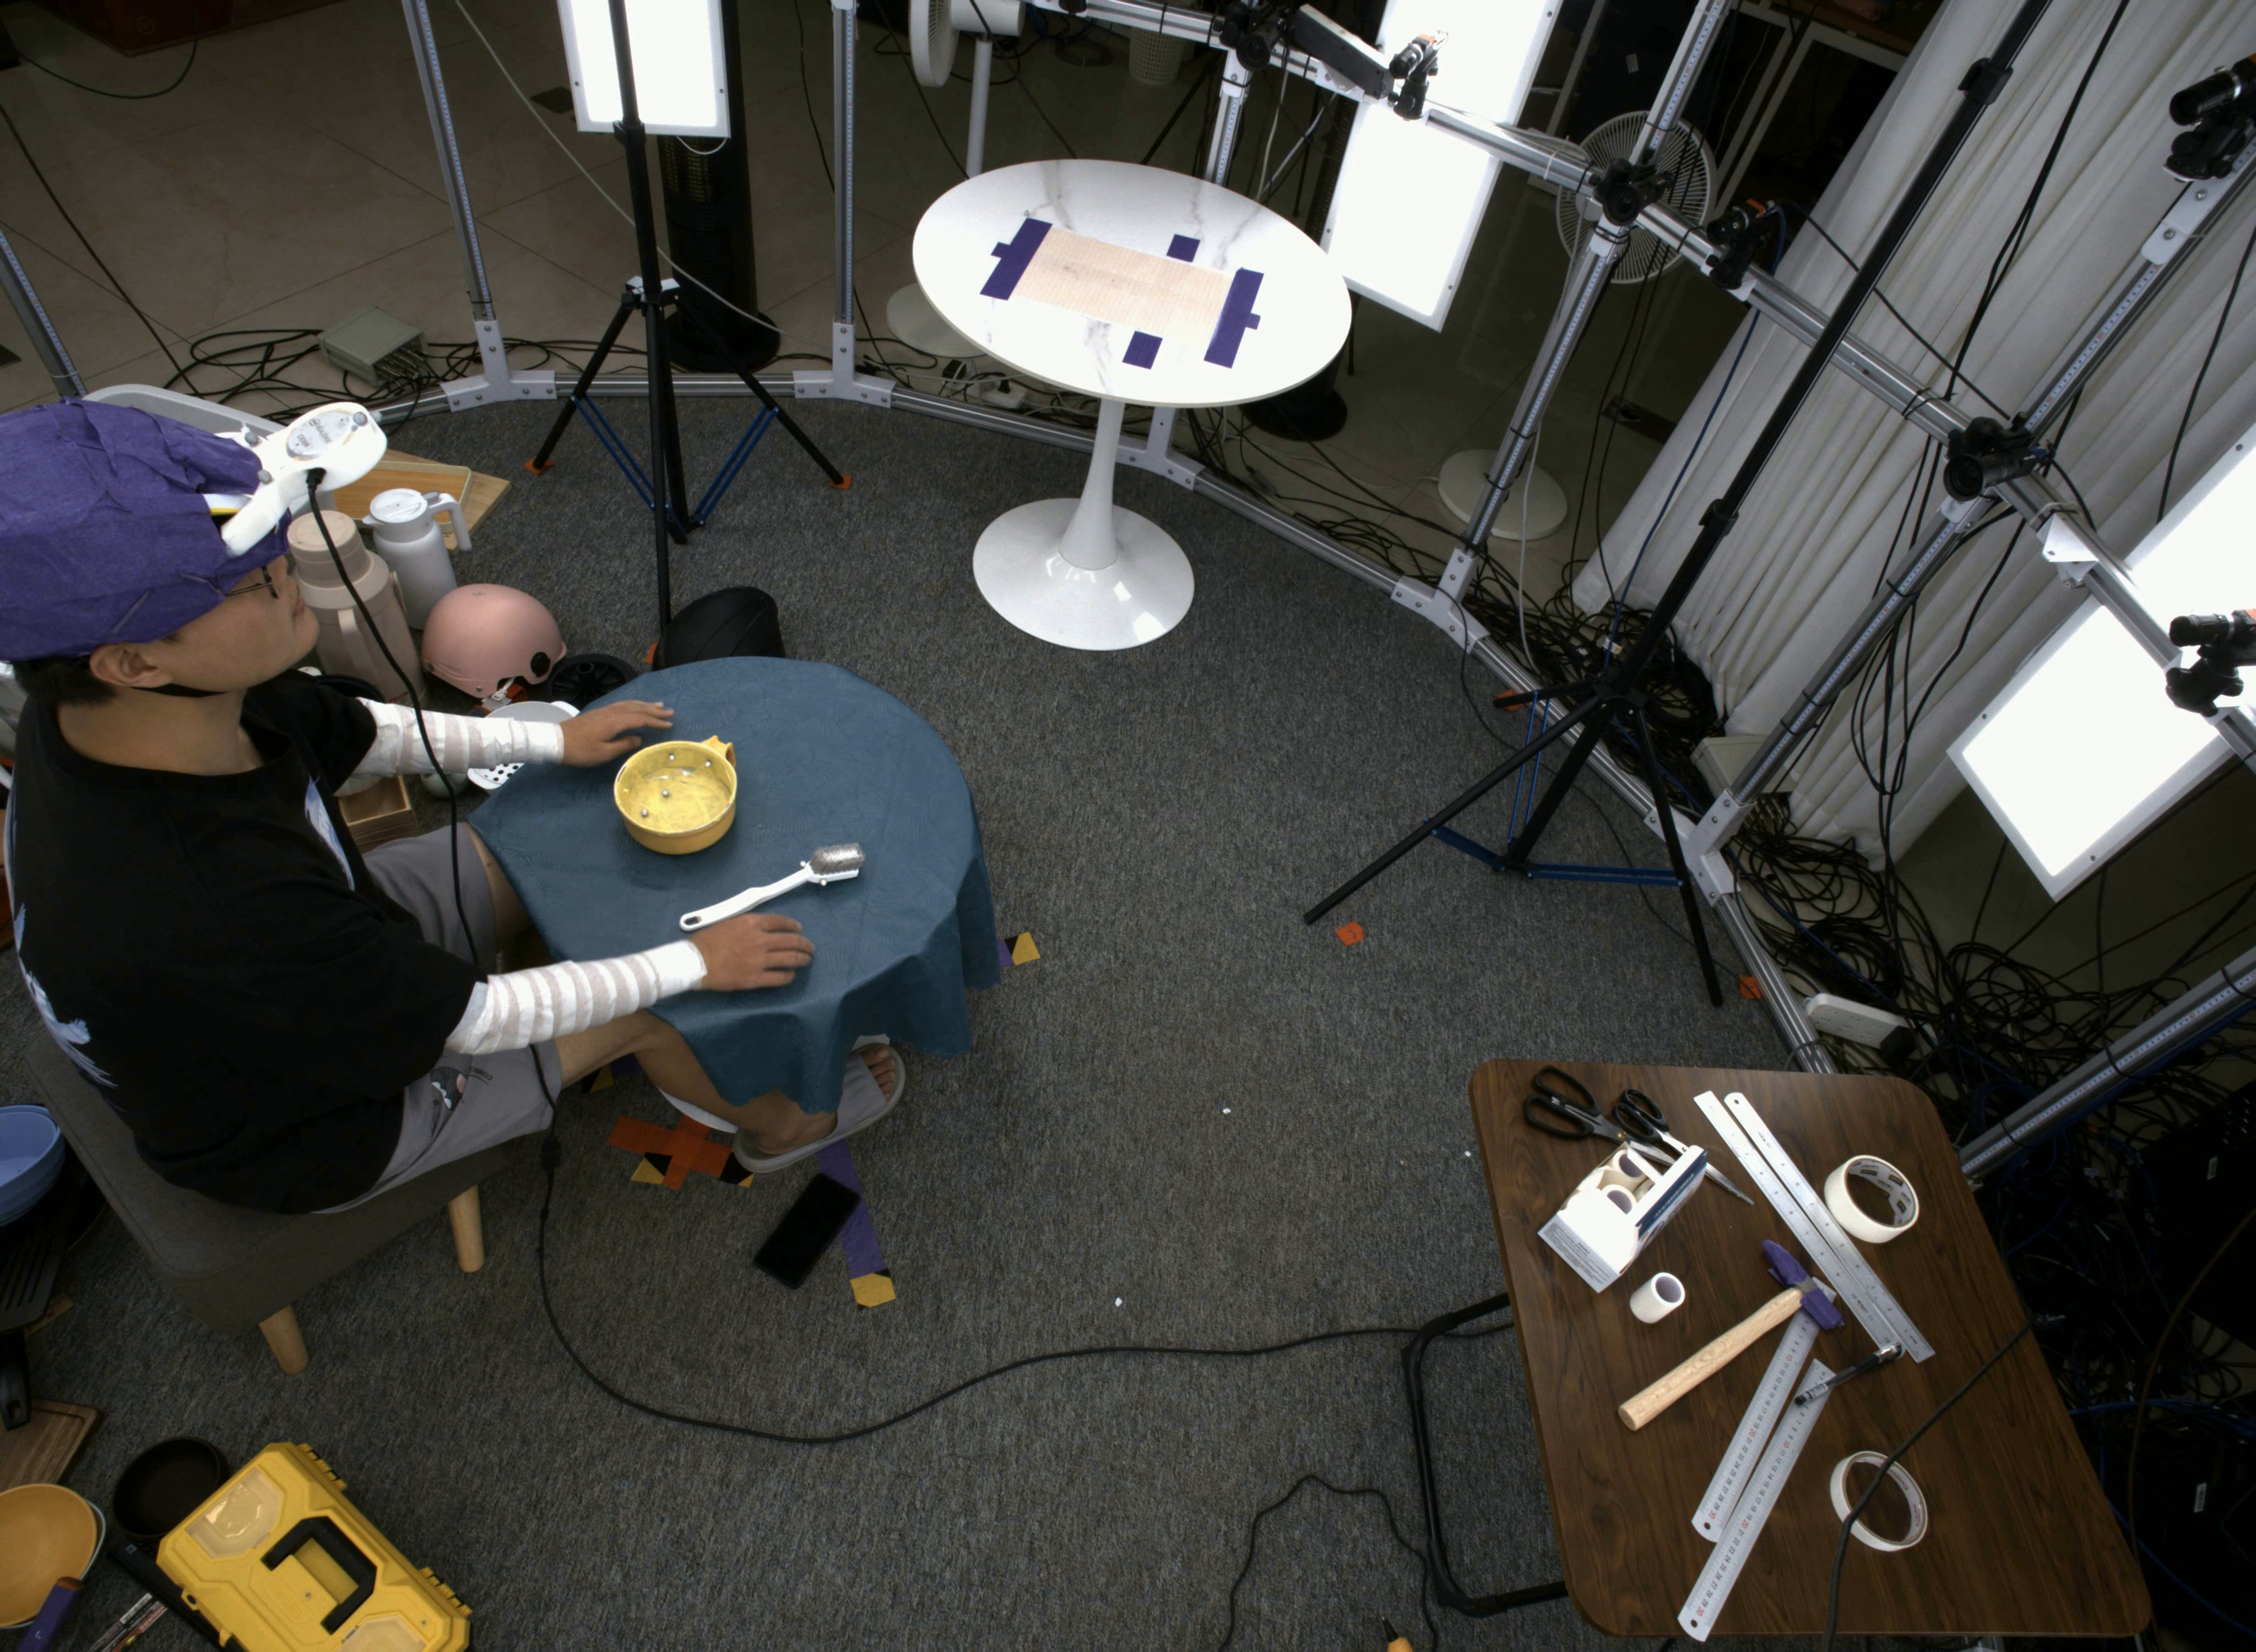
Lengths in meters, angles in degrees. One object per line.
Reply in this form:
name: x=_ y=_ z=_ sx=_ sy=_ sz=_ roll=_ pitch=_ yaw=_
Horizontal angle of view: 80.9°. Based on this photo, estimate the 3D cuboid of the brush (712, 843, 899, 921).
brush: x=-0.412 y=0.067 z=1.656 sx=0.245 sy=0.051 sz=0.033 roll=-16 pitch=59 yaw=-24

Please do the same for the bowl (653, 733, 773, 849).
bowl: x=-0.534 y=-0.049 z=1.699 sx=0.150 sy=0.076 sz=0.178 roll=22 pitch=51 yaw=10
